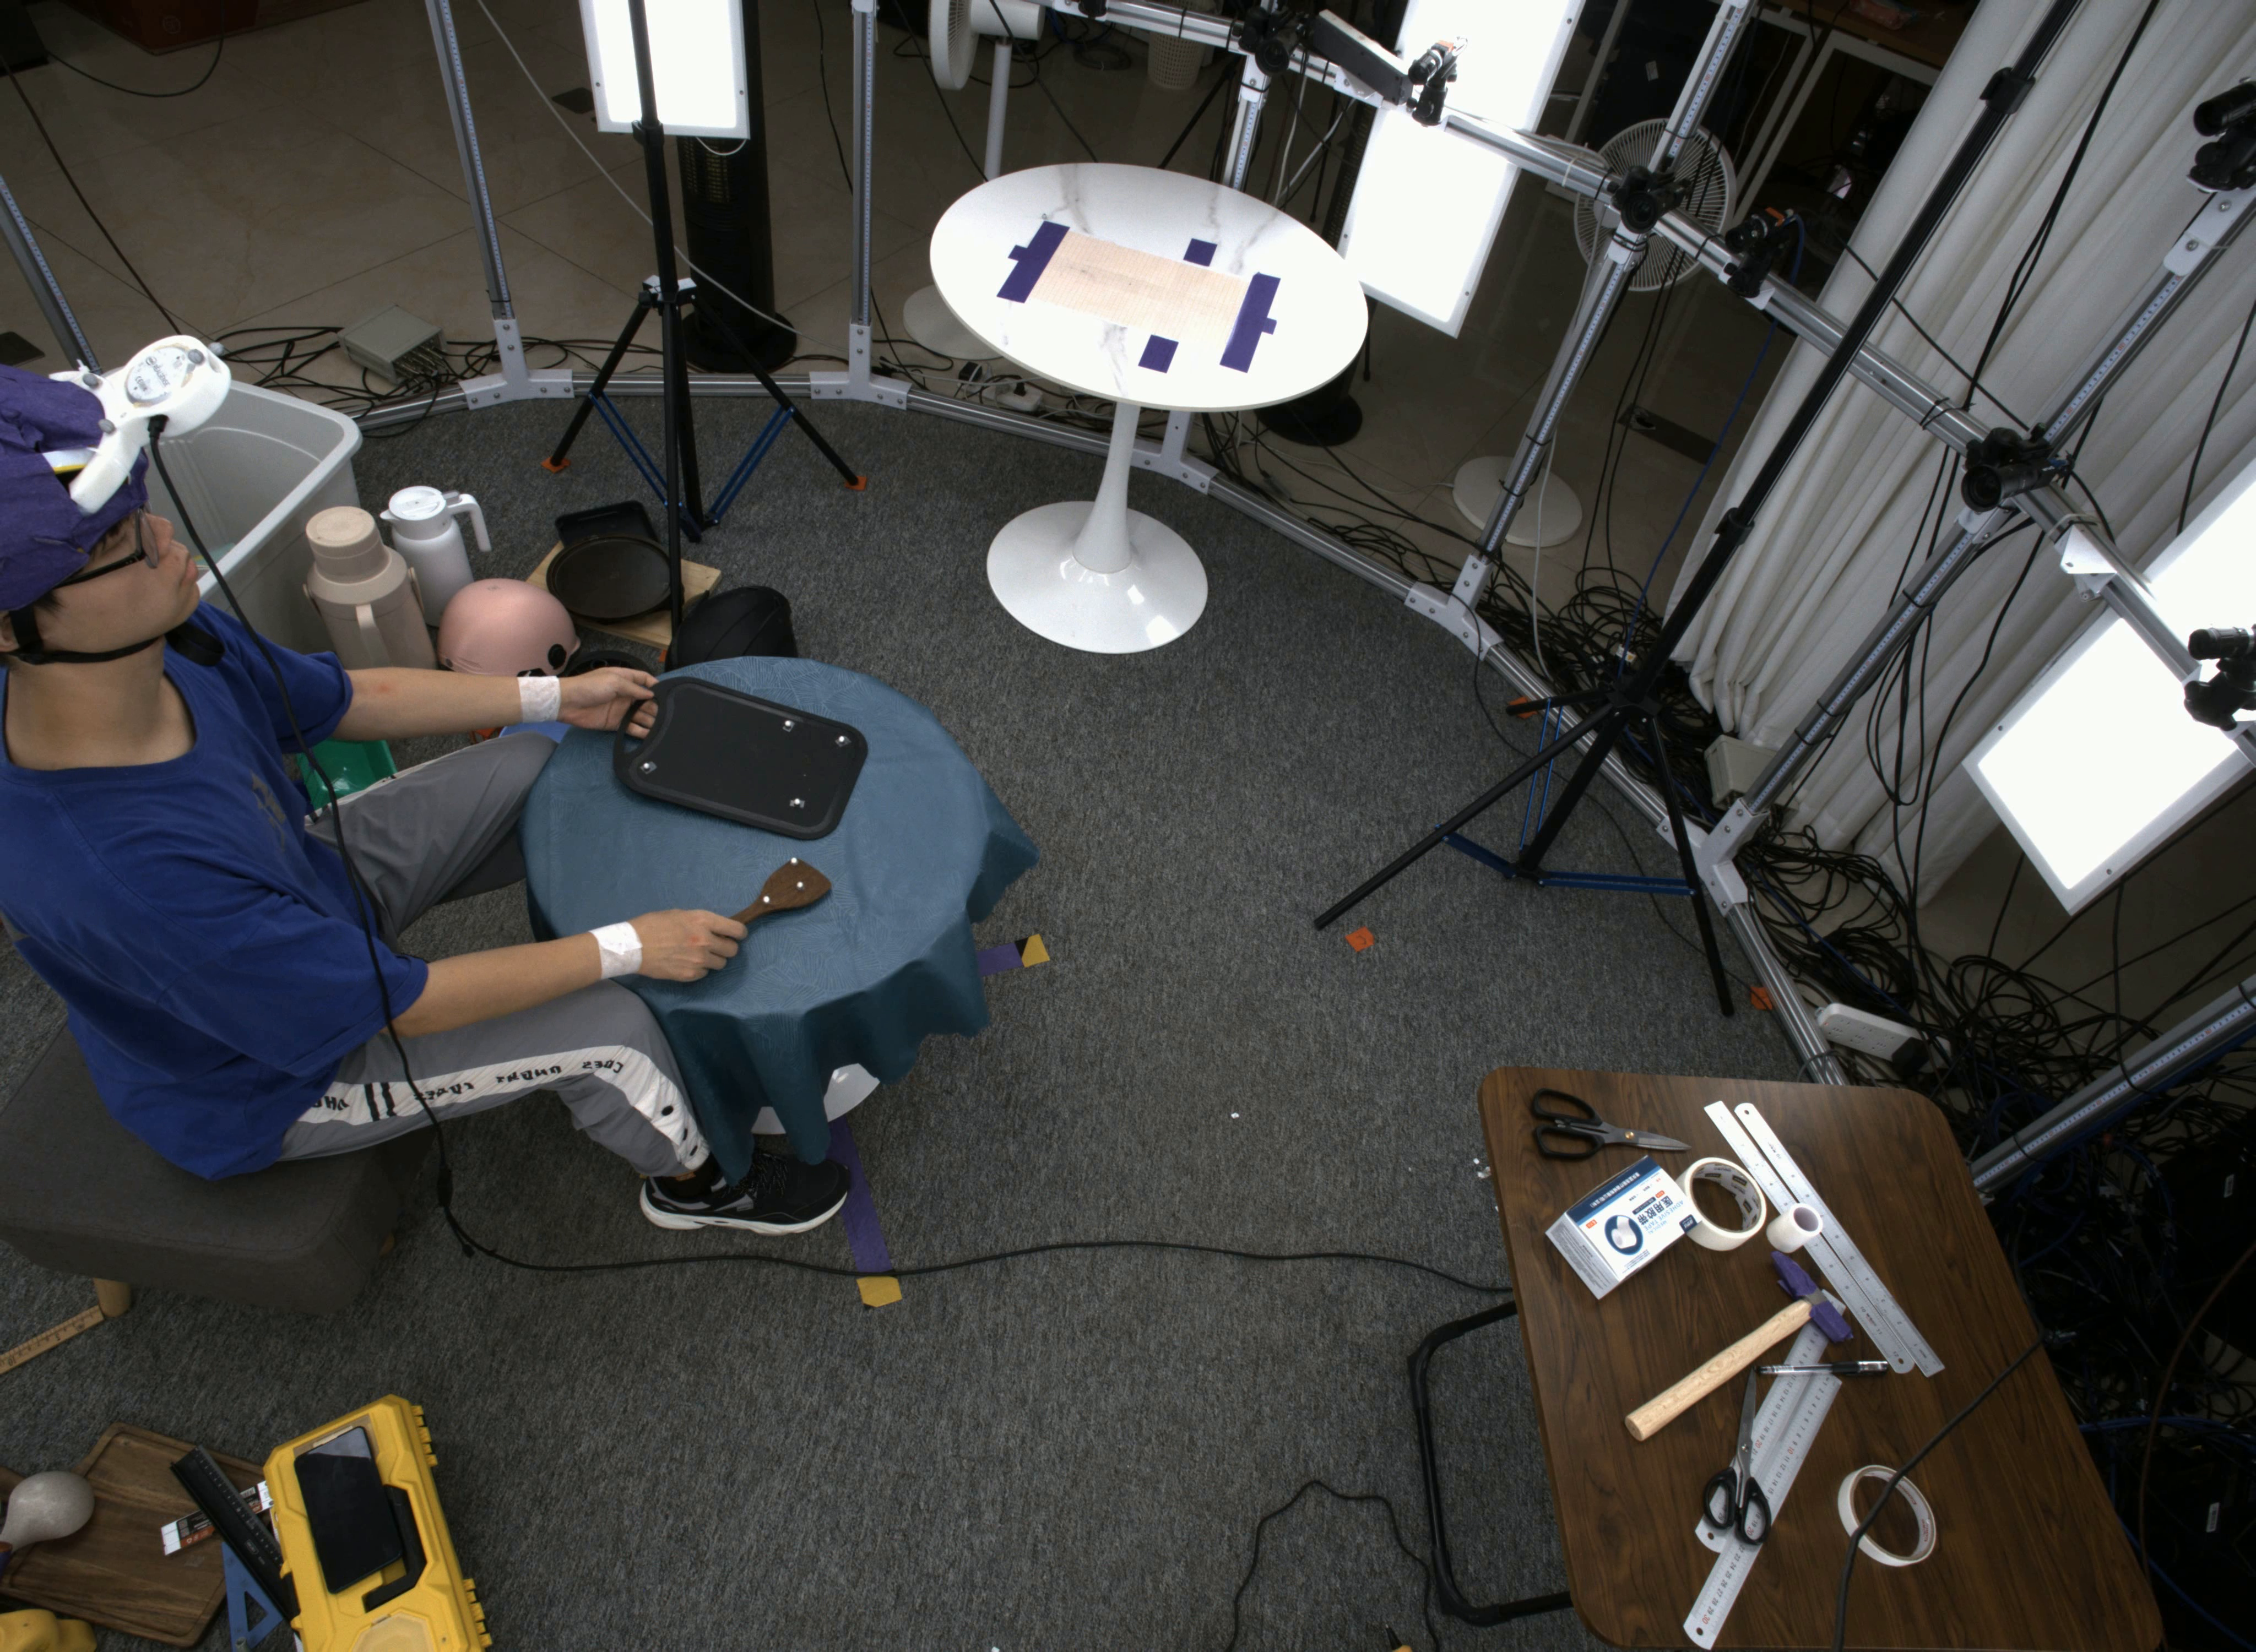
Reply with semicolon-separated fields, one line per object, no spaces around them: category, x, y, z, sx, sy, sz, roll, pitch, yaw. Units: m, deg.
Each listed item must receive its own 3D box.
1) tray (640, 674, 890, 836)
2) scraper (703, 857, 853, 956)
tray;-0.502;-0.104;1.772;0.324;0.010;0.208;18;53;-6
scraper;-0.443;0.102;1.630;0.073;0.011;0.212;32;45;23
